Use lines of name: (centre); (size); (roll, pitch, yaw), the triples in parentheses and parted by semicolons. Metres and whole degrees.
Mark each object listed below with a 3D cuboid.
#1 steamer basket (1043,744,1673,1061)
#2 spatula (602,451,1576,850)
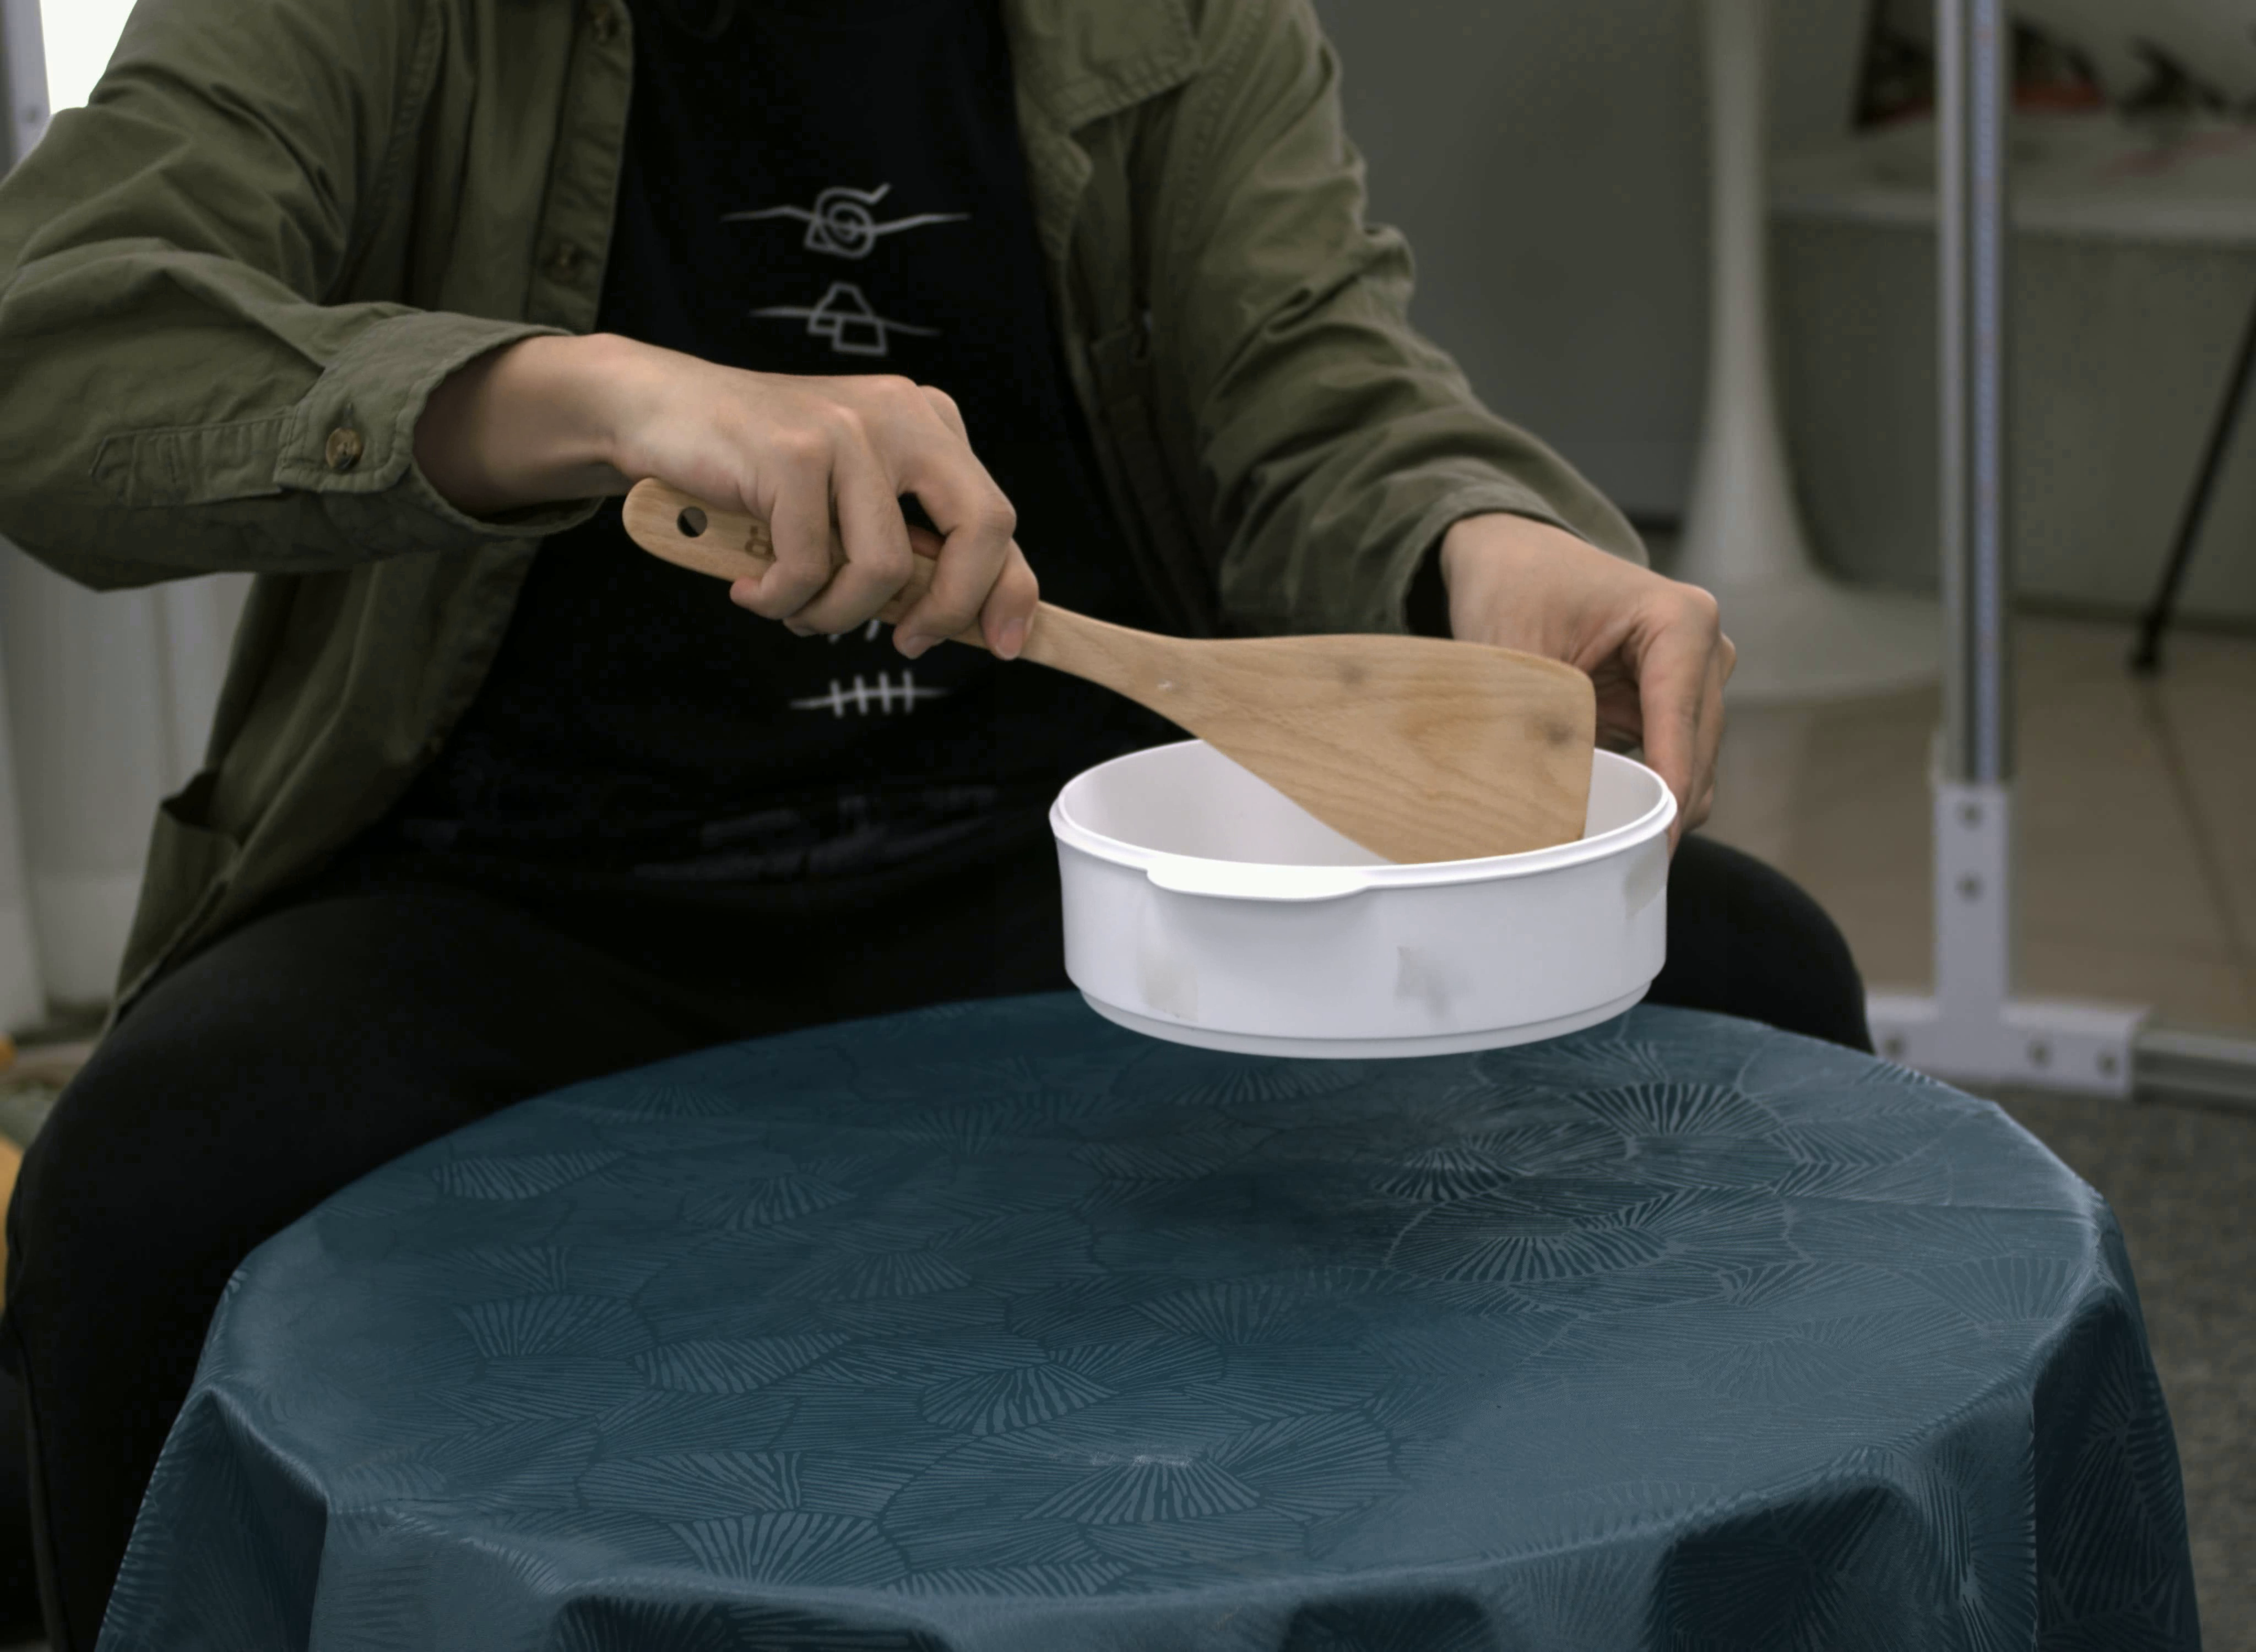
steamer basket: (0.073, 0.024, 1.712); (0.202, 0.070, 0.228); (4, 13, 23)
spatula: (-0.012, -0.064, 1.709); (0.325, 0.081, 0.016); (17, 3, 4)
